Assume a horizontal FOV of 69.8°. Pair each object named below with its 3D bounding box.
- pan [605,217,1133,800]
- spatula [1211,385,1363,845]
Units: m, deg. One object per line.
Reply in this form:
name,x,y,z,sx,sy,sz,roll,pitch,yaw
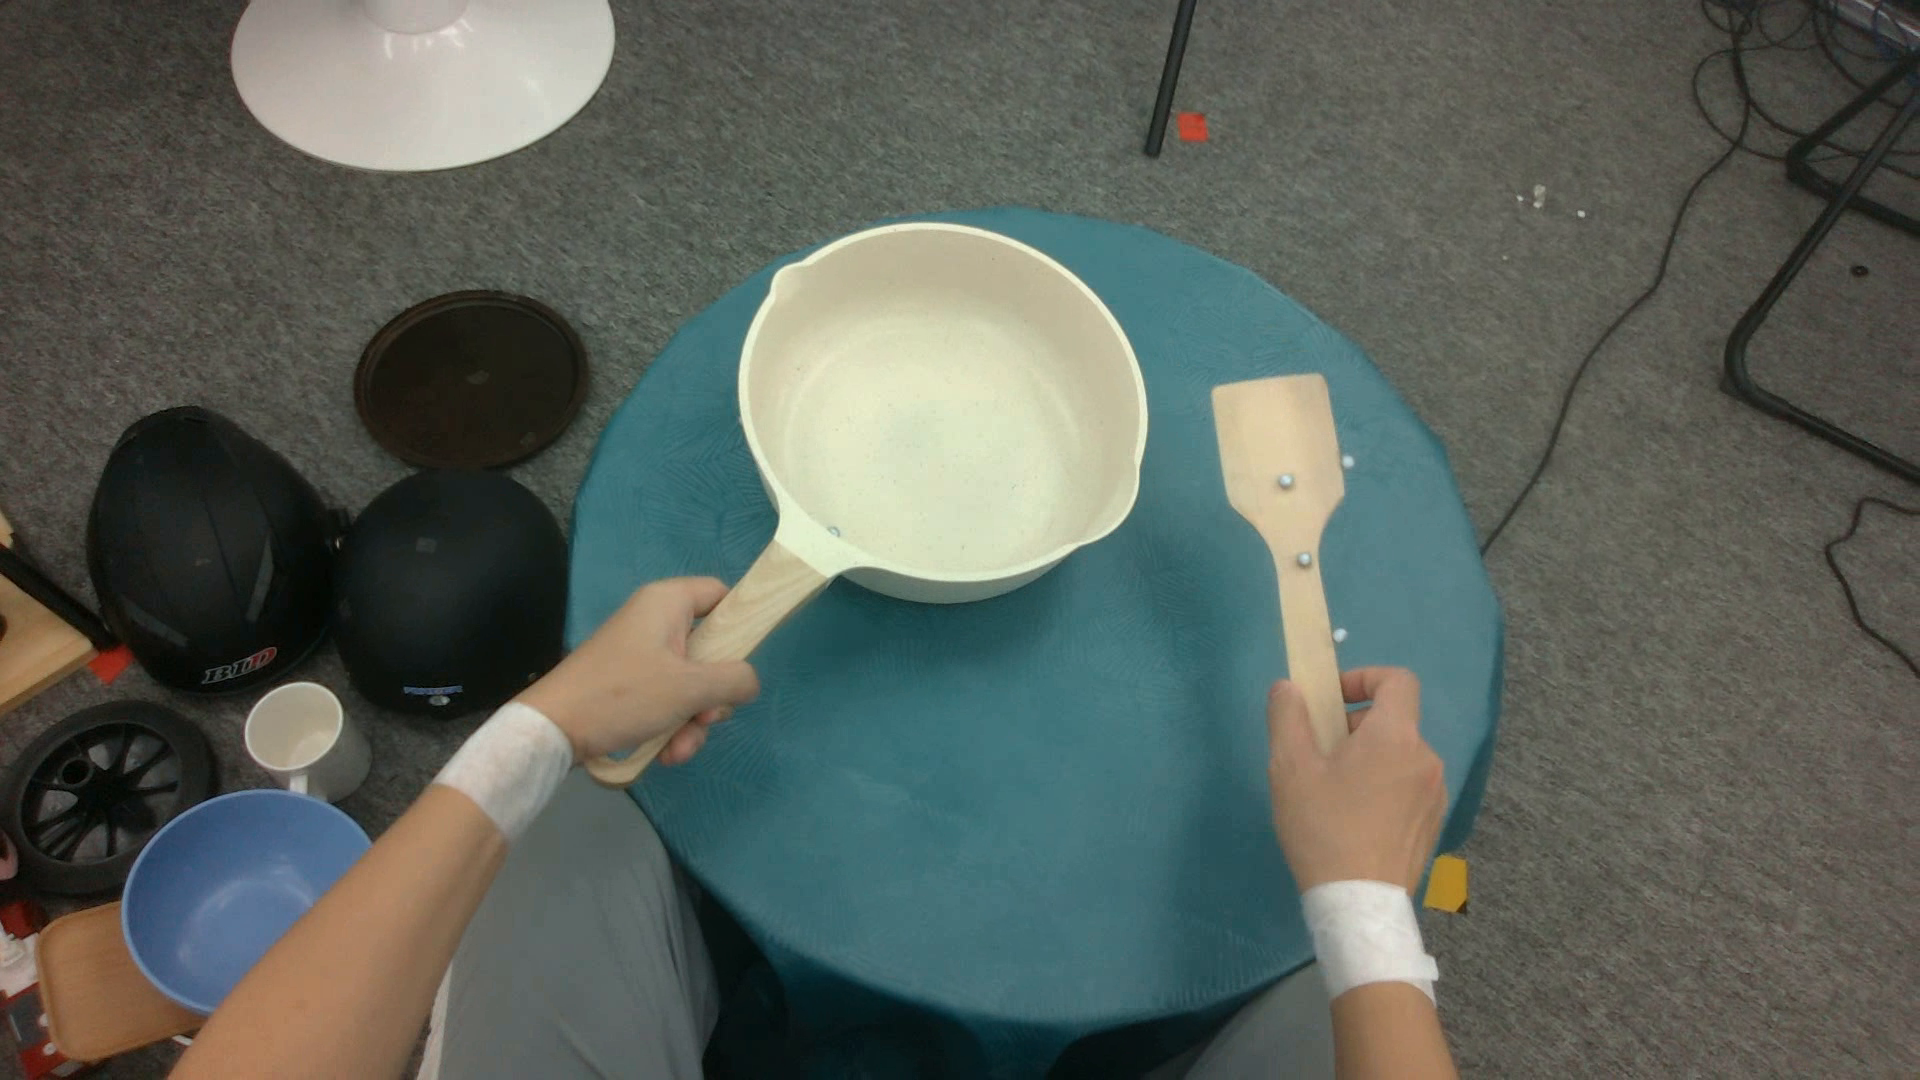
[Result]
pan,-0.069,-0.015,0.838,0.263,0.101,0.436,34,65,6
spatula,0.198,0.033,0.799,0.072,0.010,0.294,-5,60,6
